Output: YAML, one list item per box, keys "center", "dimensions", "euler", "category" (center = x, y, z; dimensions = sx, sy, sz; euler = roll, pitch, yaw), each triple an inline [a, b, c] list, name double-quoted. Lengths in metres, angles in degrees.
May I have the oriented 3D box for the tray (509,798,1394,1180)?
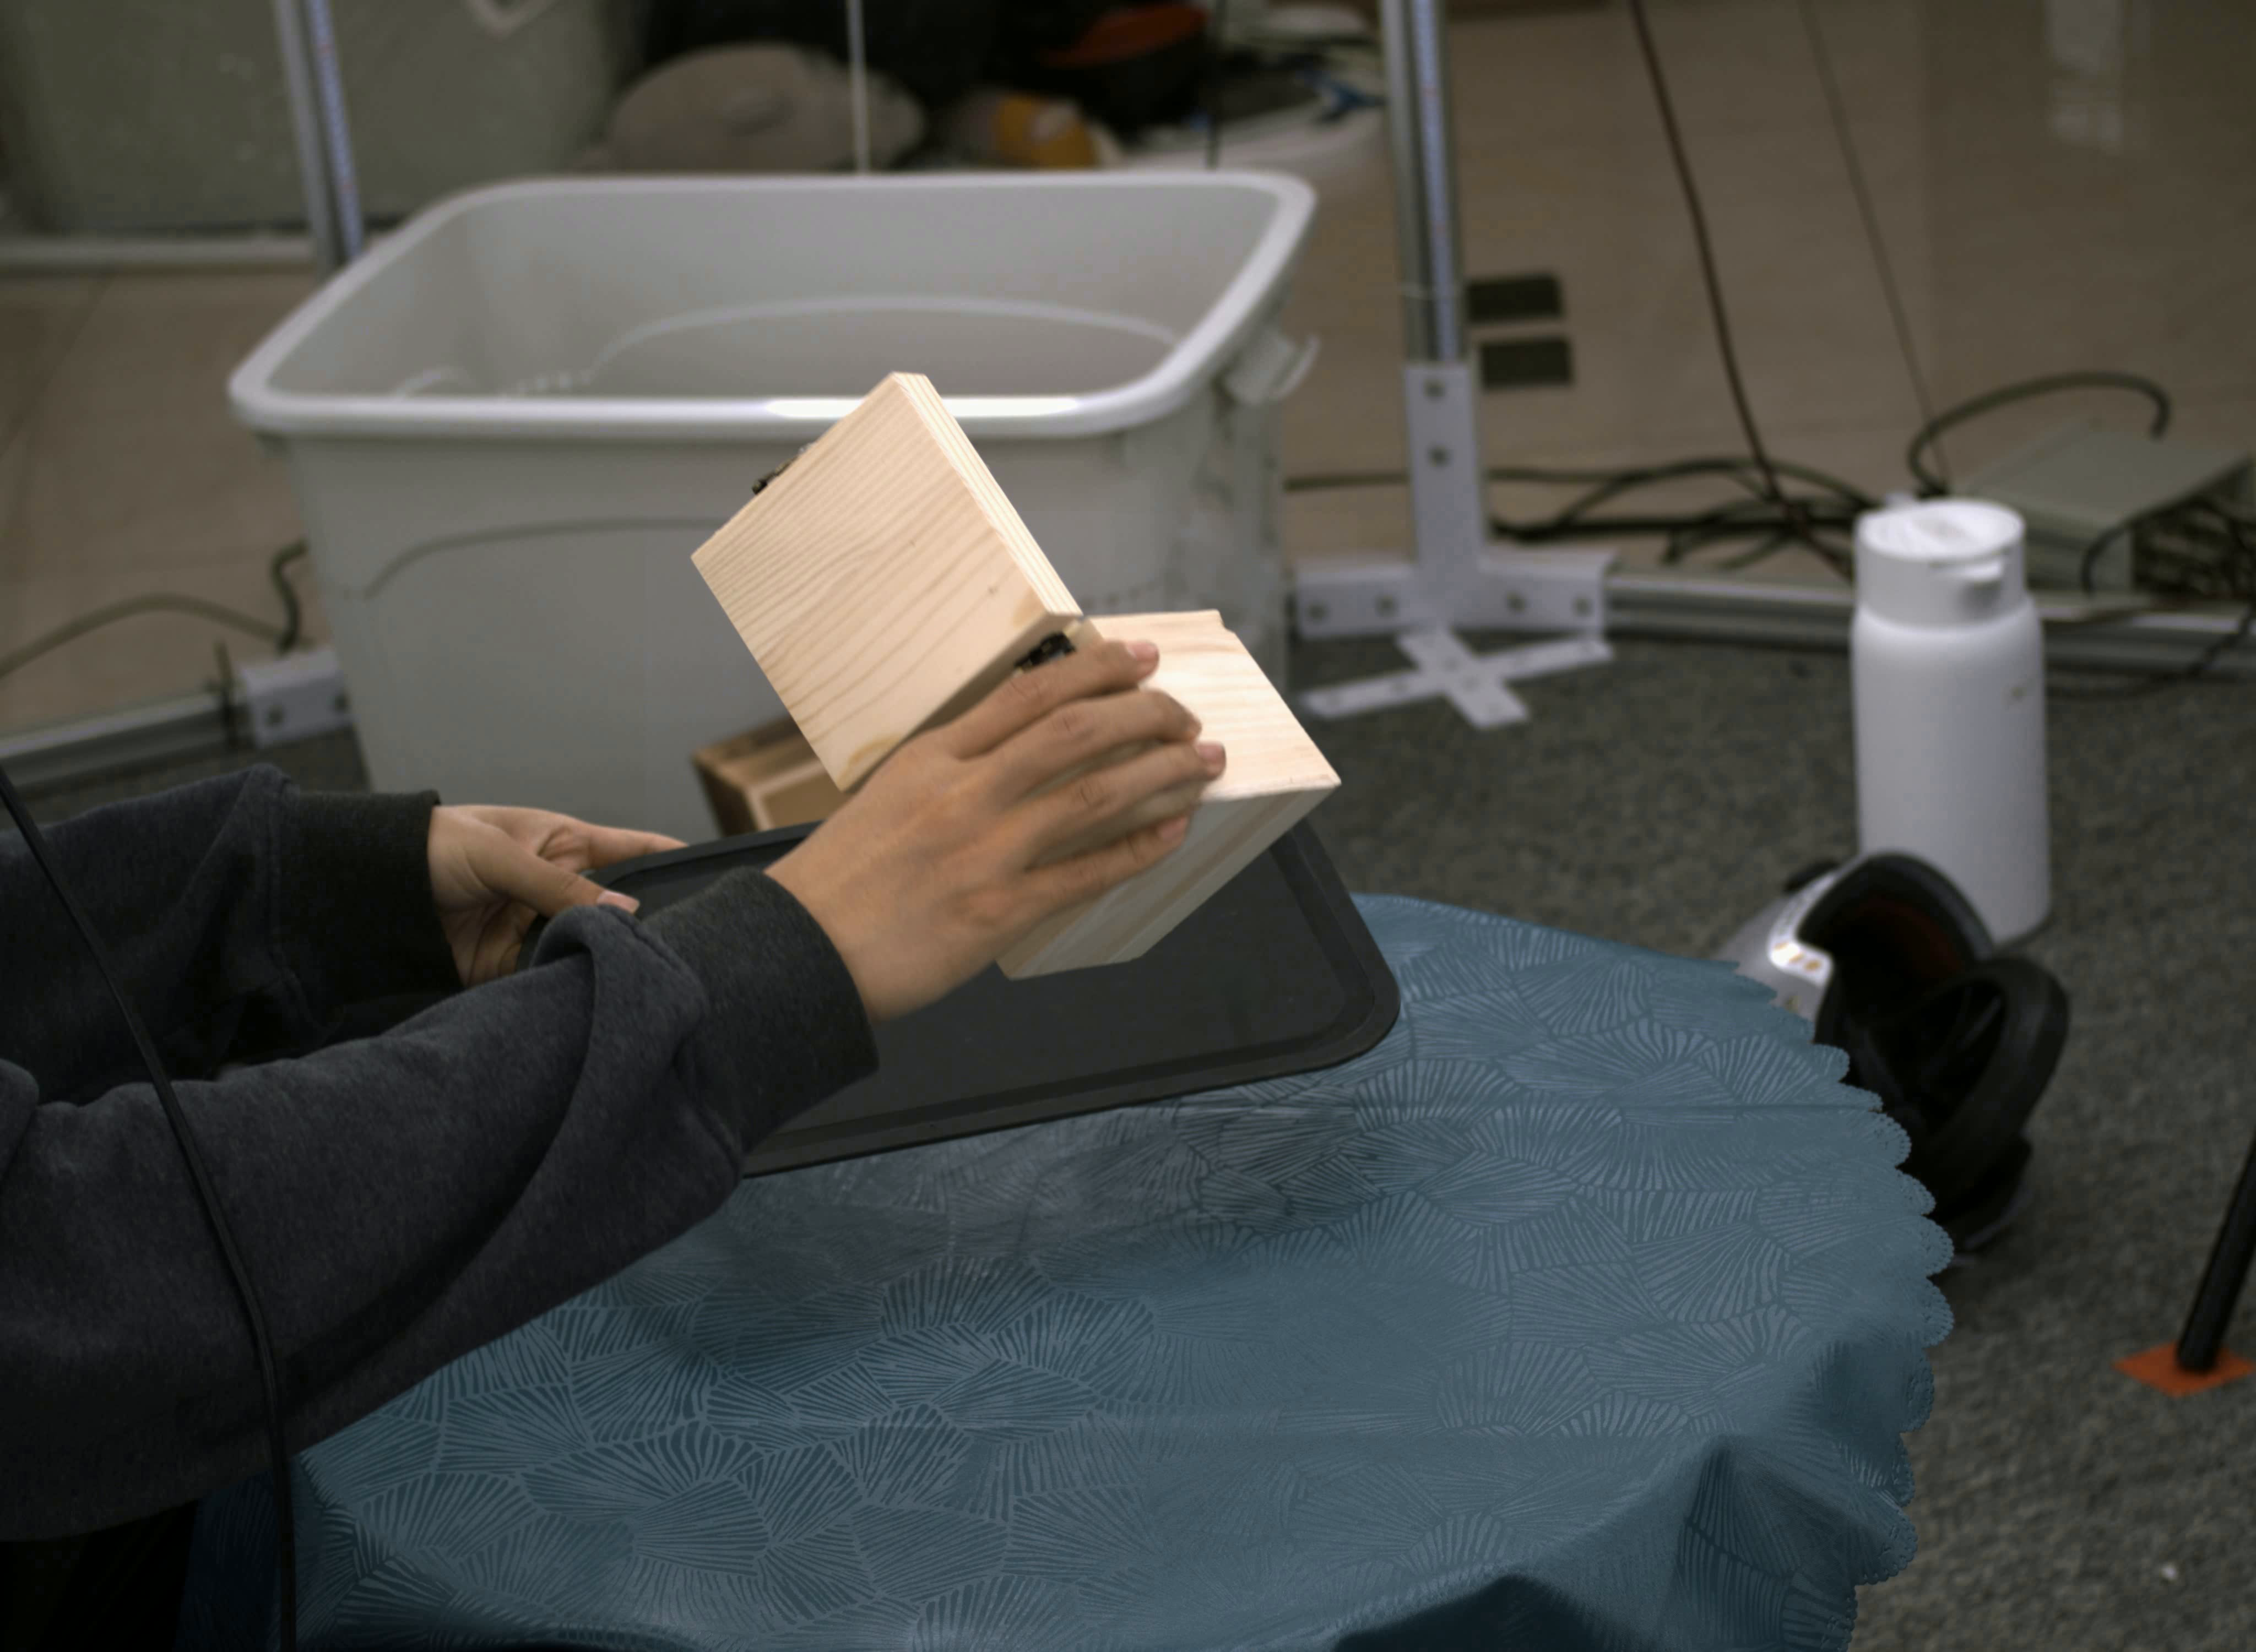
- center: [-0.072, 0.053, 2.151]
  dimensions: [0.324, 0.010, 0.207]
  euler: [-9, 37, -12]
  category: "tray"

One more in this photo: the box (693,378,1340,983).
- center: [-0.037, -0.054, 1.931]
  dimensions: [0.103, 0.183, 0.133]
  euler: [-38, -10, 24]
  category: "box"
